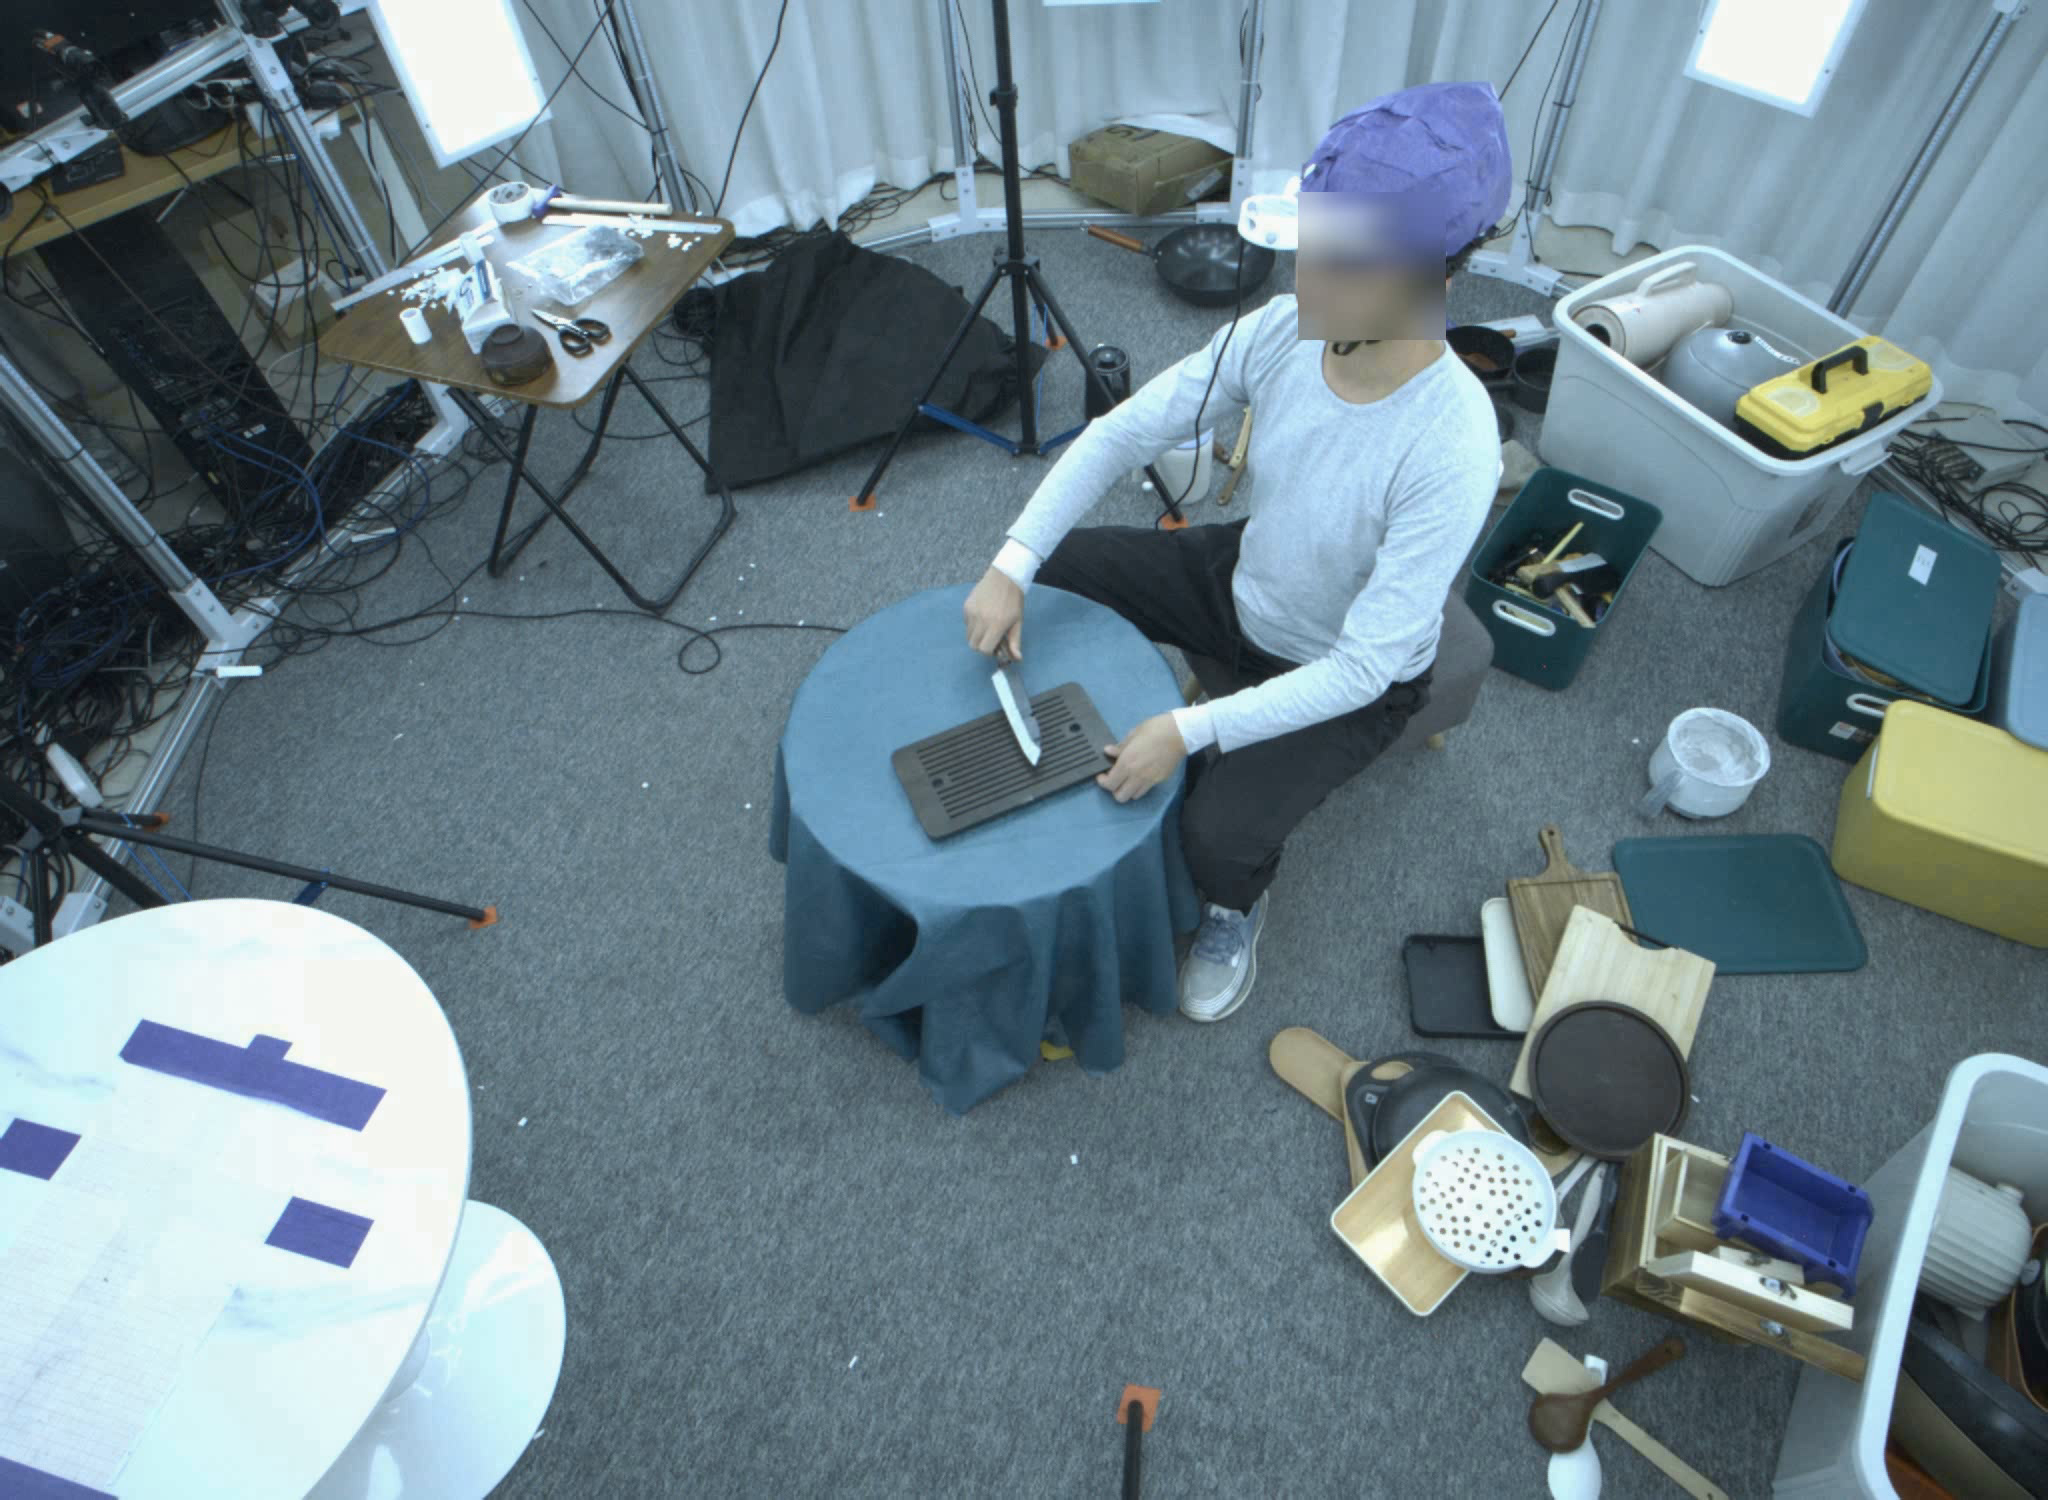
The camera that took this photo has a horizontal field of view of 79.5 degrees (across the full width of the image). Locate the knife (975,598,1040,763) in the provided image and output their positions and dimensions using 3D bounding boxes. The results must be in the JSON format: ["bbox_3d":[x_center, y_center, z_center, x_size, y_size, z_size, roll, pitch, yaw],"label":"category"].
[{"bbox_3d":[-0.025,-0.105,1.794,0.050,0.020,0.285,-34,60,29],"label":"knife"}]

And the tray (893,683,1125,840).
[{"bbox_3d":[-0.022,0.014,1.774,0.308,0.019,0.167,-21,56,-14],"label":"tray"}]
